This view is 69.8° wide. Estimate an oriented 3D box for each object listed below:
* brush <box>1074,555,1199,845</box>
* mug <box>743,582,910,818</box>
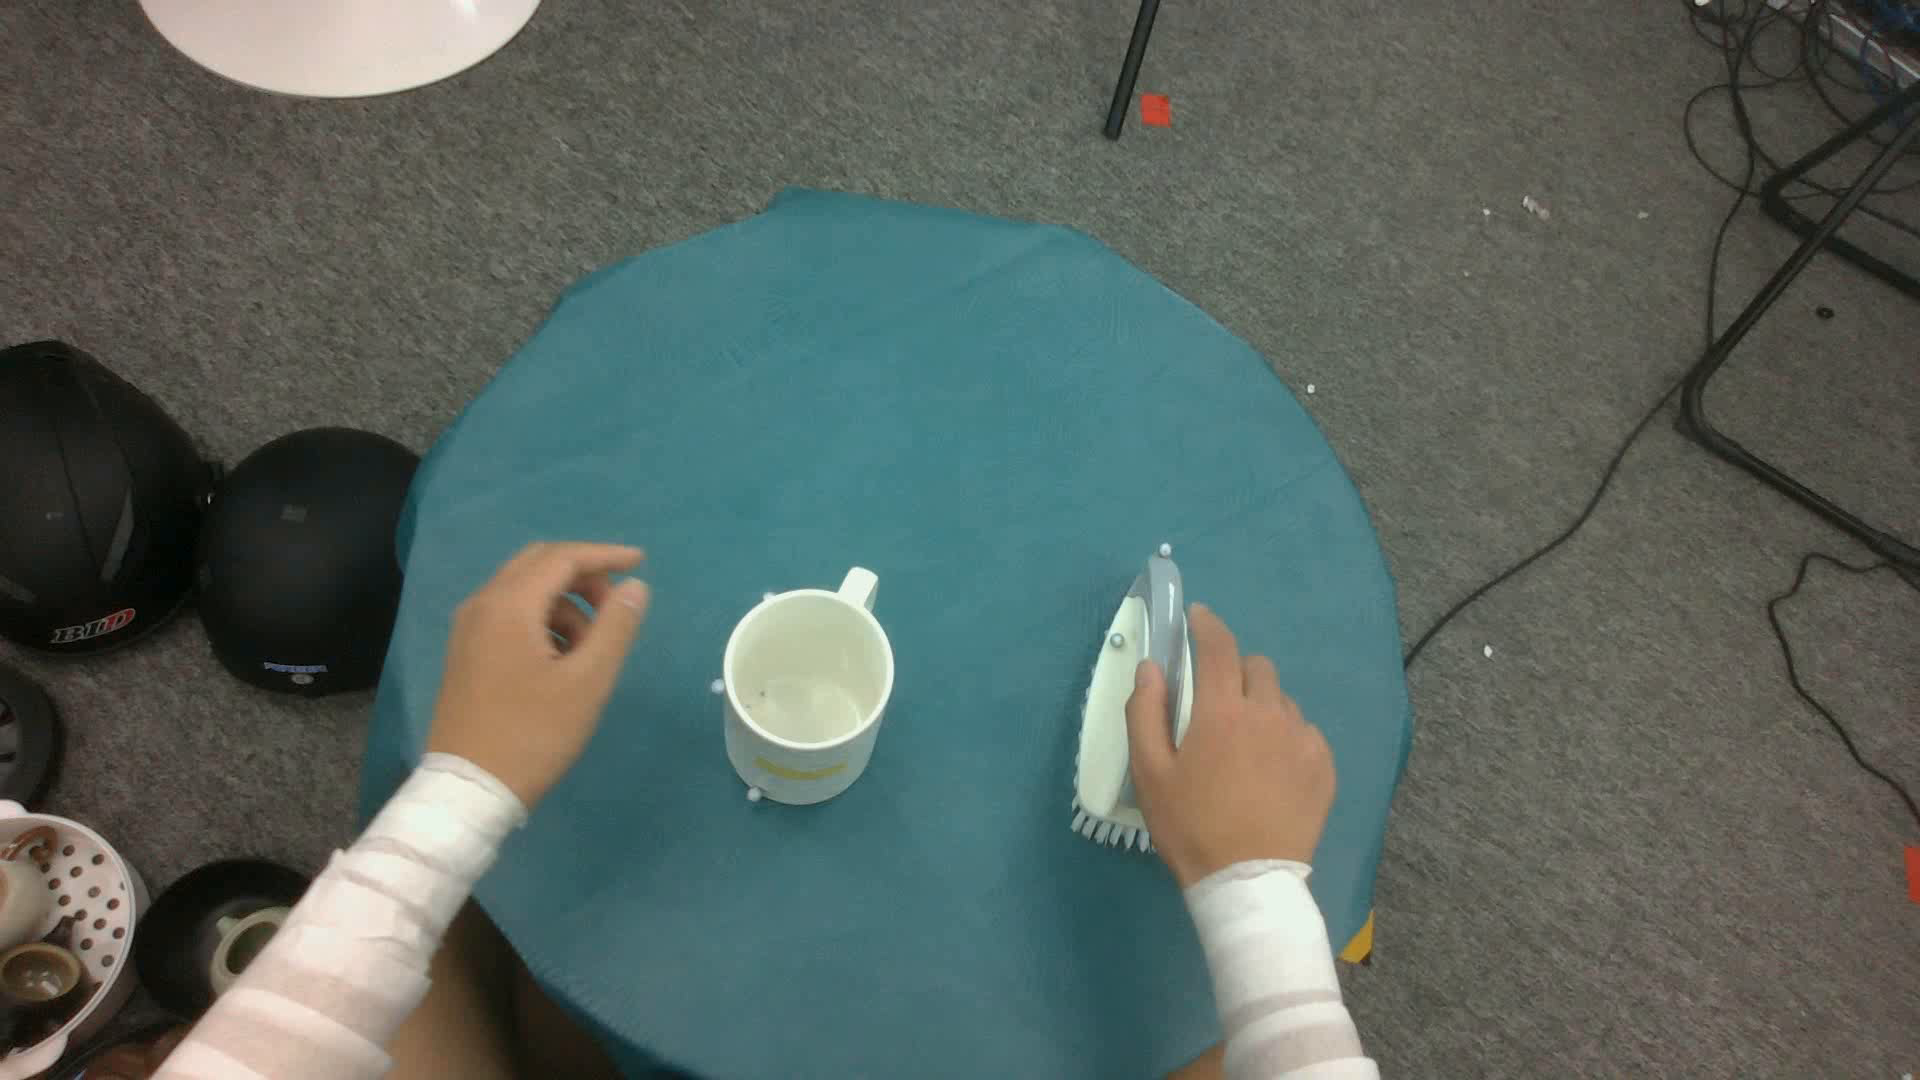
[{"bbox_3d":[0.110,0.077,0.788,0.061,0.094,0.176,14,59,-3],"label":"brush"},{"bbox_3d":[-0.068,0.083,0.751,0.085,0.101,0.119,21,60,4],"label":"mug"}]
